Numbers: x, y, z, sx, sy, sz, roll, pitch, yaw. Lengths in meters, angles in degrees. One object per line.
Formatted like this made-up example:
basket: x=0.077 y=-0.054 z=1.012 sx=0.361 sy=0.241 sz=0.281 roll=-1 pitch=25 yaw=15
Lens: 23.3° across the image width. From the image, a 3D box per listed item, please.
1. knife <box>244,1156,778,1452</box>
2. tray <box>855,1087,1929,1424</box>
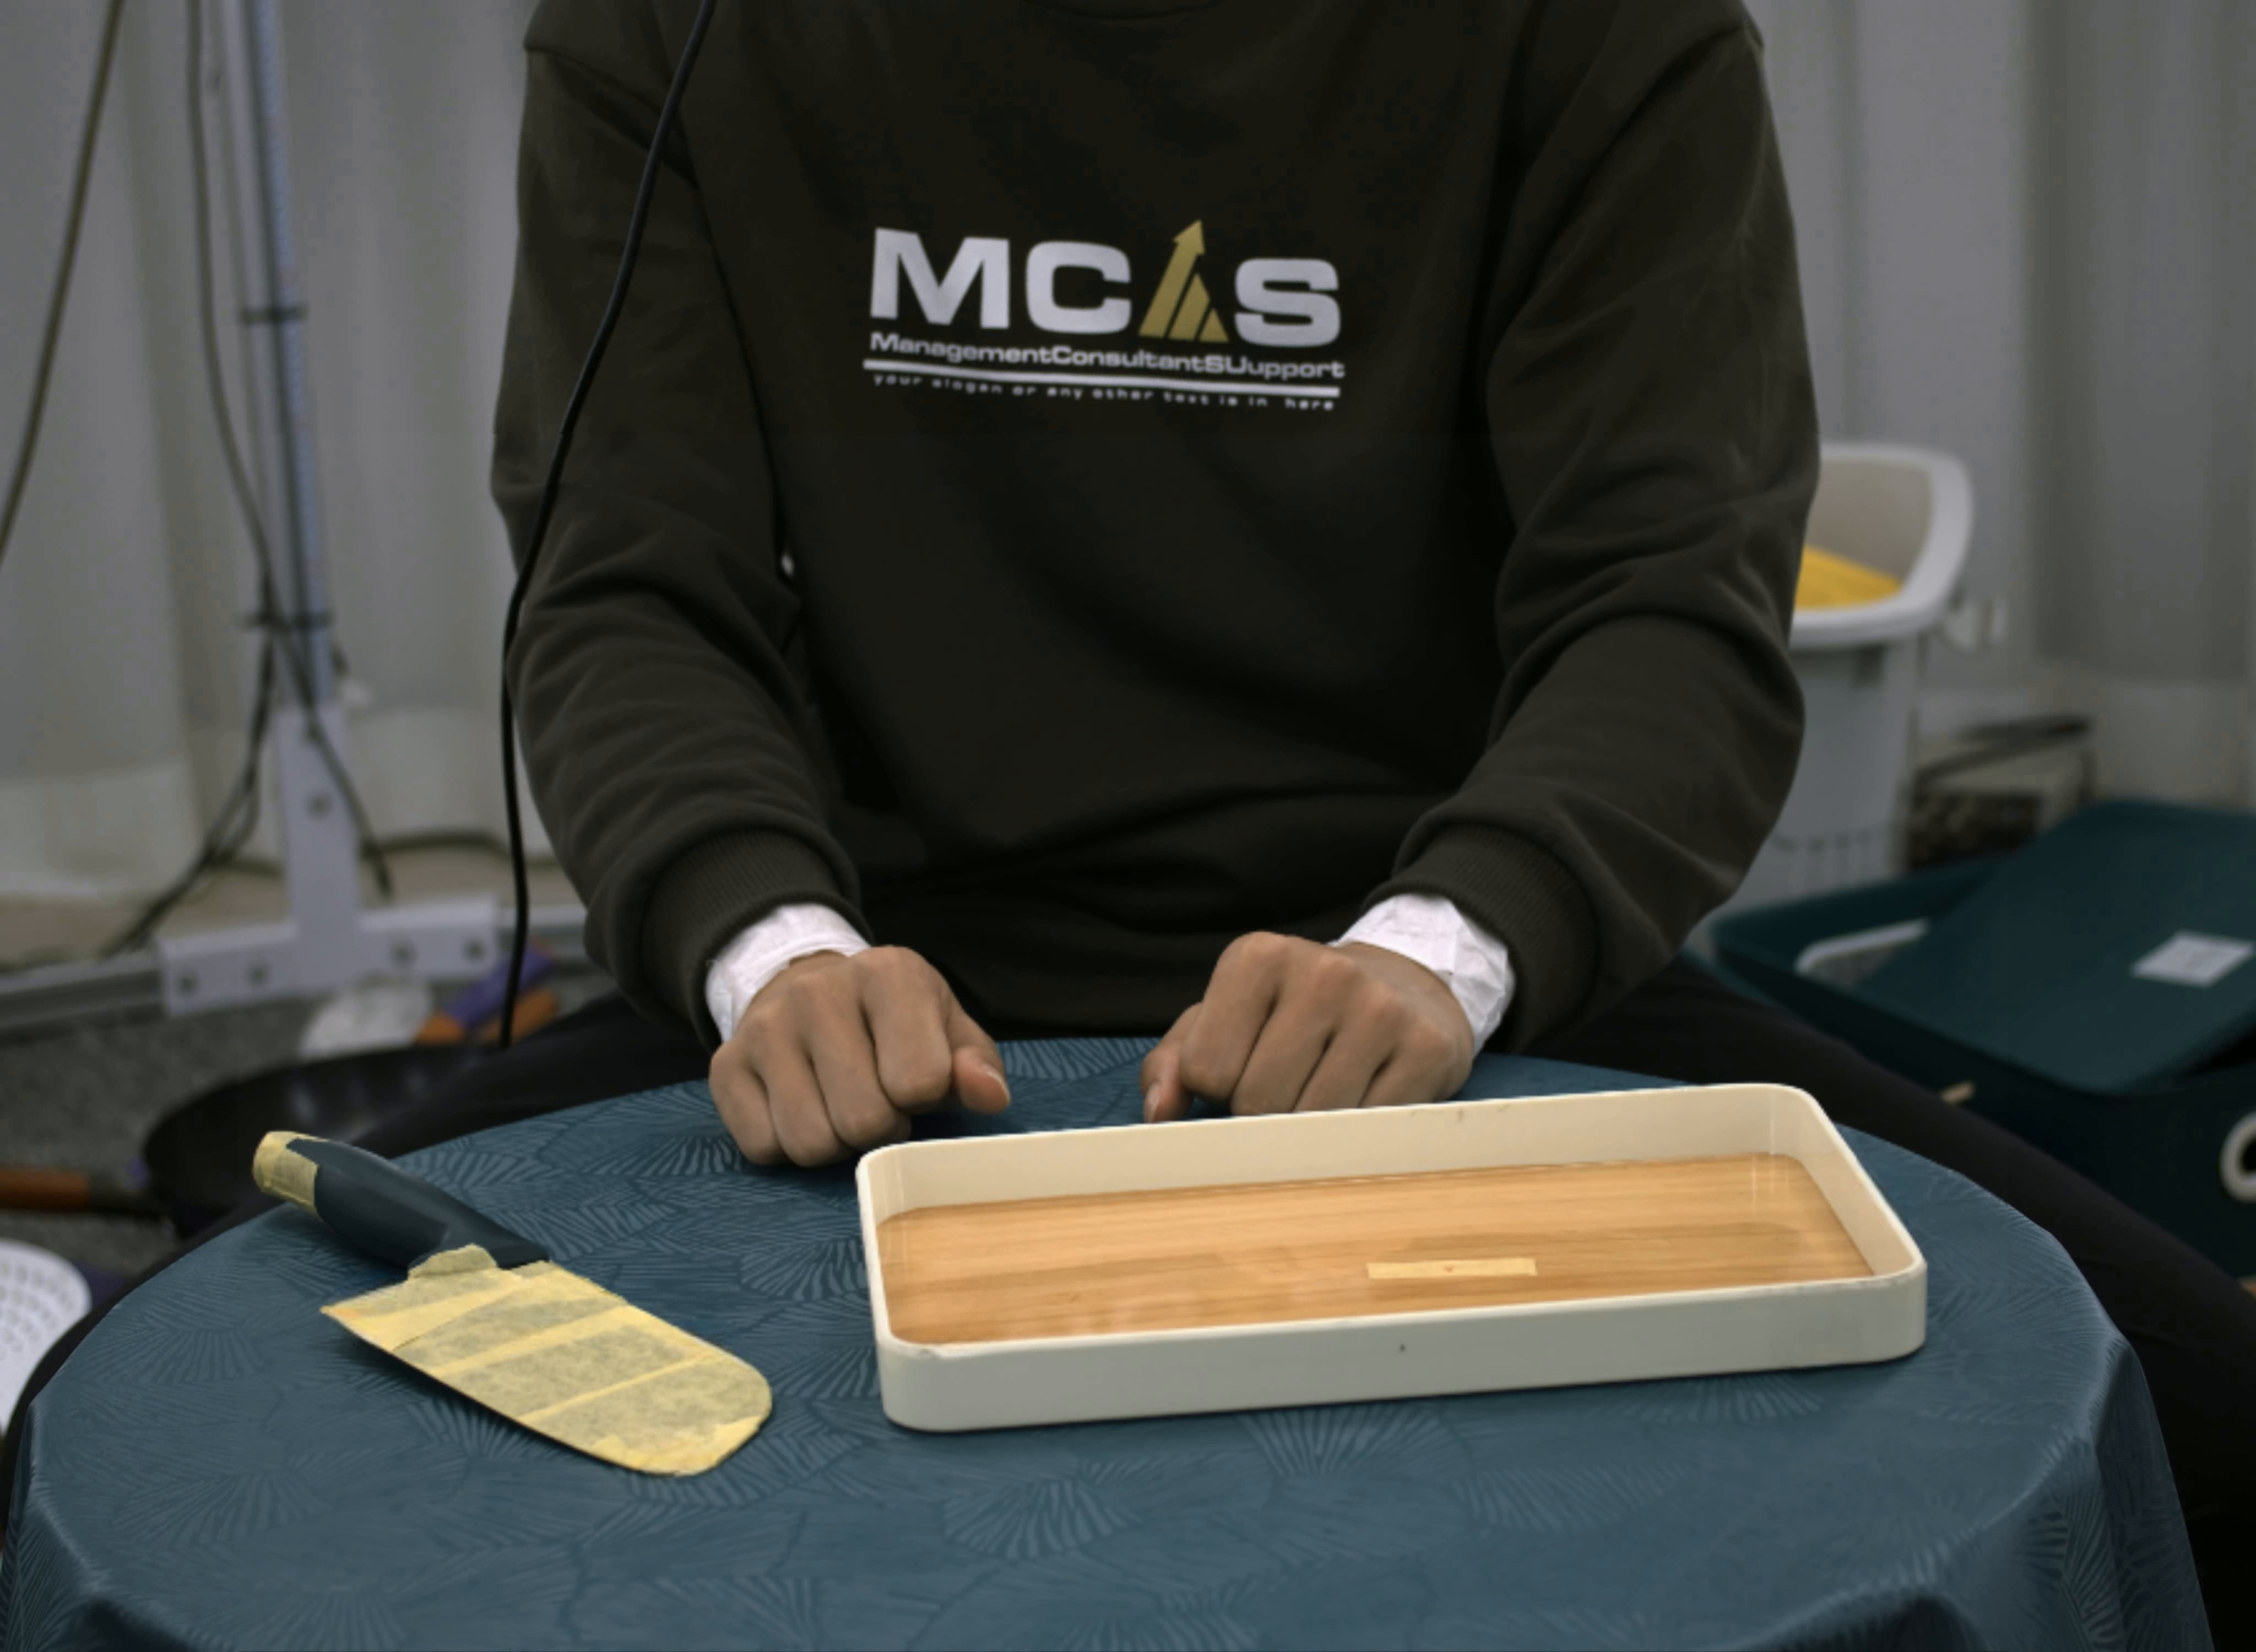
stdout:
knife: x=-0.195 y=0.143 z=1.619 sx=0.081 sy=0.027 sz=0.291 roll=-10 pitch=17 yaw=-35
tray: x=0.072 y=0.125 z=1.614 sx=0.299 sy=0.027 sz=0.193 roll=-3 pitch=14 yaw=-4
